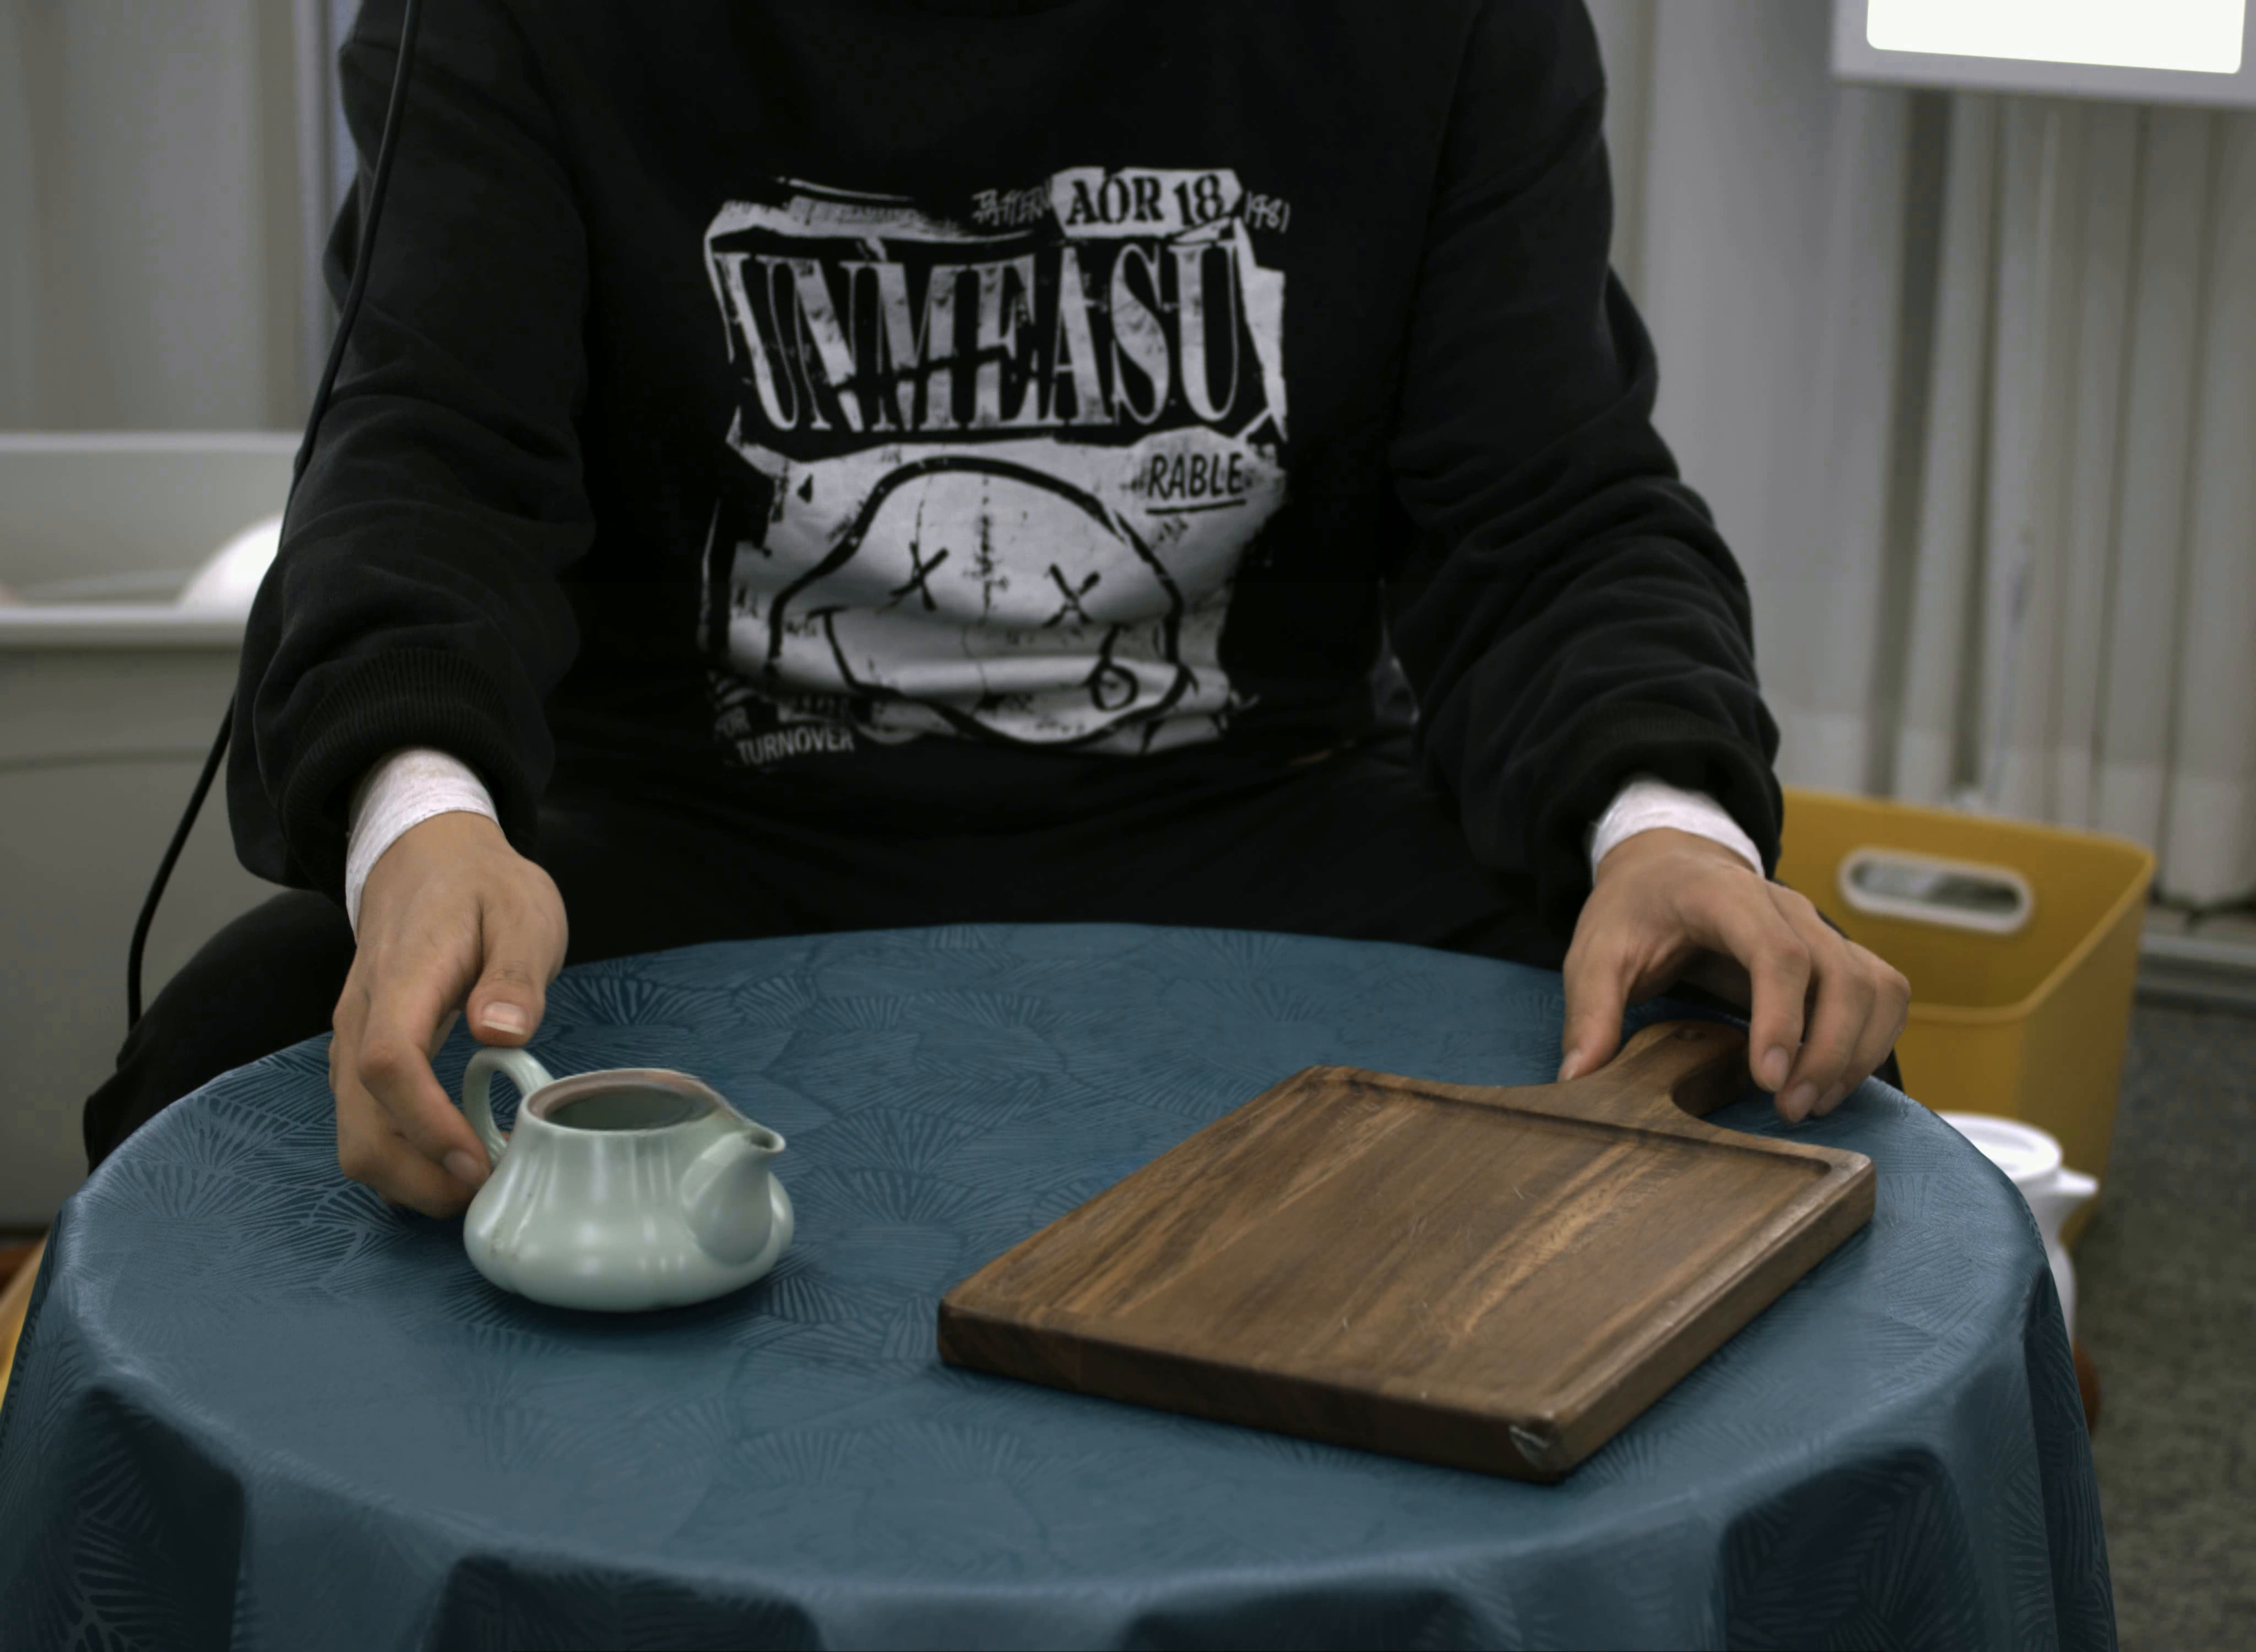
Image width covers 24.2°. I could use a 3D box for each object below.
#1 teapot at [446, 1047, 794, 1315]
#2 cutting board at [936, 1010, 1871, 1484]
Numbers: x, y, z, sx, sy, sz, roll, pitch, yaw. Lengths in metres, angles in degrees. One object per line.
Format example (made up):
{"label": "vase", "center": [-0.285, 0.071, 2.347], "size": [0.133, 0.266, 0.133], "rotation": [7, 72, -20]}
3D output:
{"label": "teapot", "center": [-0.149, 0.104, 1.535], "size": [0.135, 0.062, 0.096], "rotation": [14, 22, 38]}
{"label": "cutting board", "center": [0.108, 0.113, 1.583], "size": [0.199, 0.023, 0.353], "rotation": [8, 18, 25]}
